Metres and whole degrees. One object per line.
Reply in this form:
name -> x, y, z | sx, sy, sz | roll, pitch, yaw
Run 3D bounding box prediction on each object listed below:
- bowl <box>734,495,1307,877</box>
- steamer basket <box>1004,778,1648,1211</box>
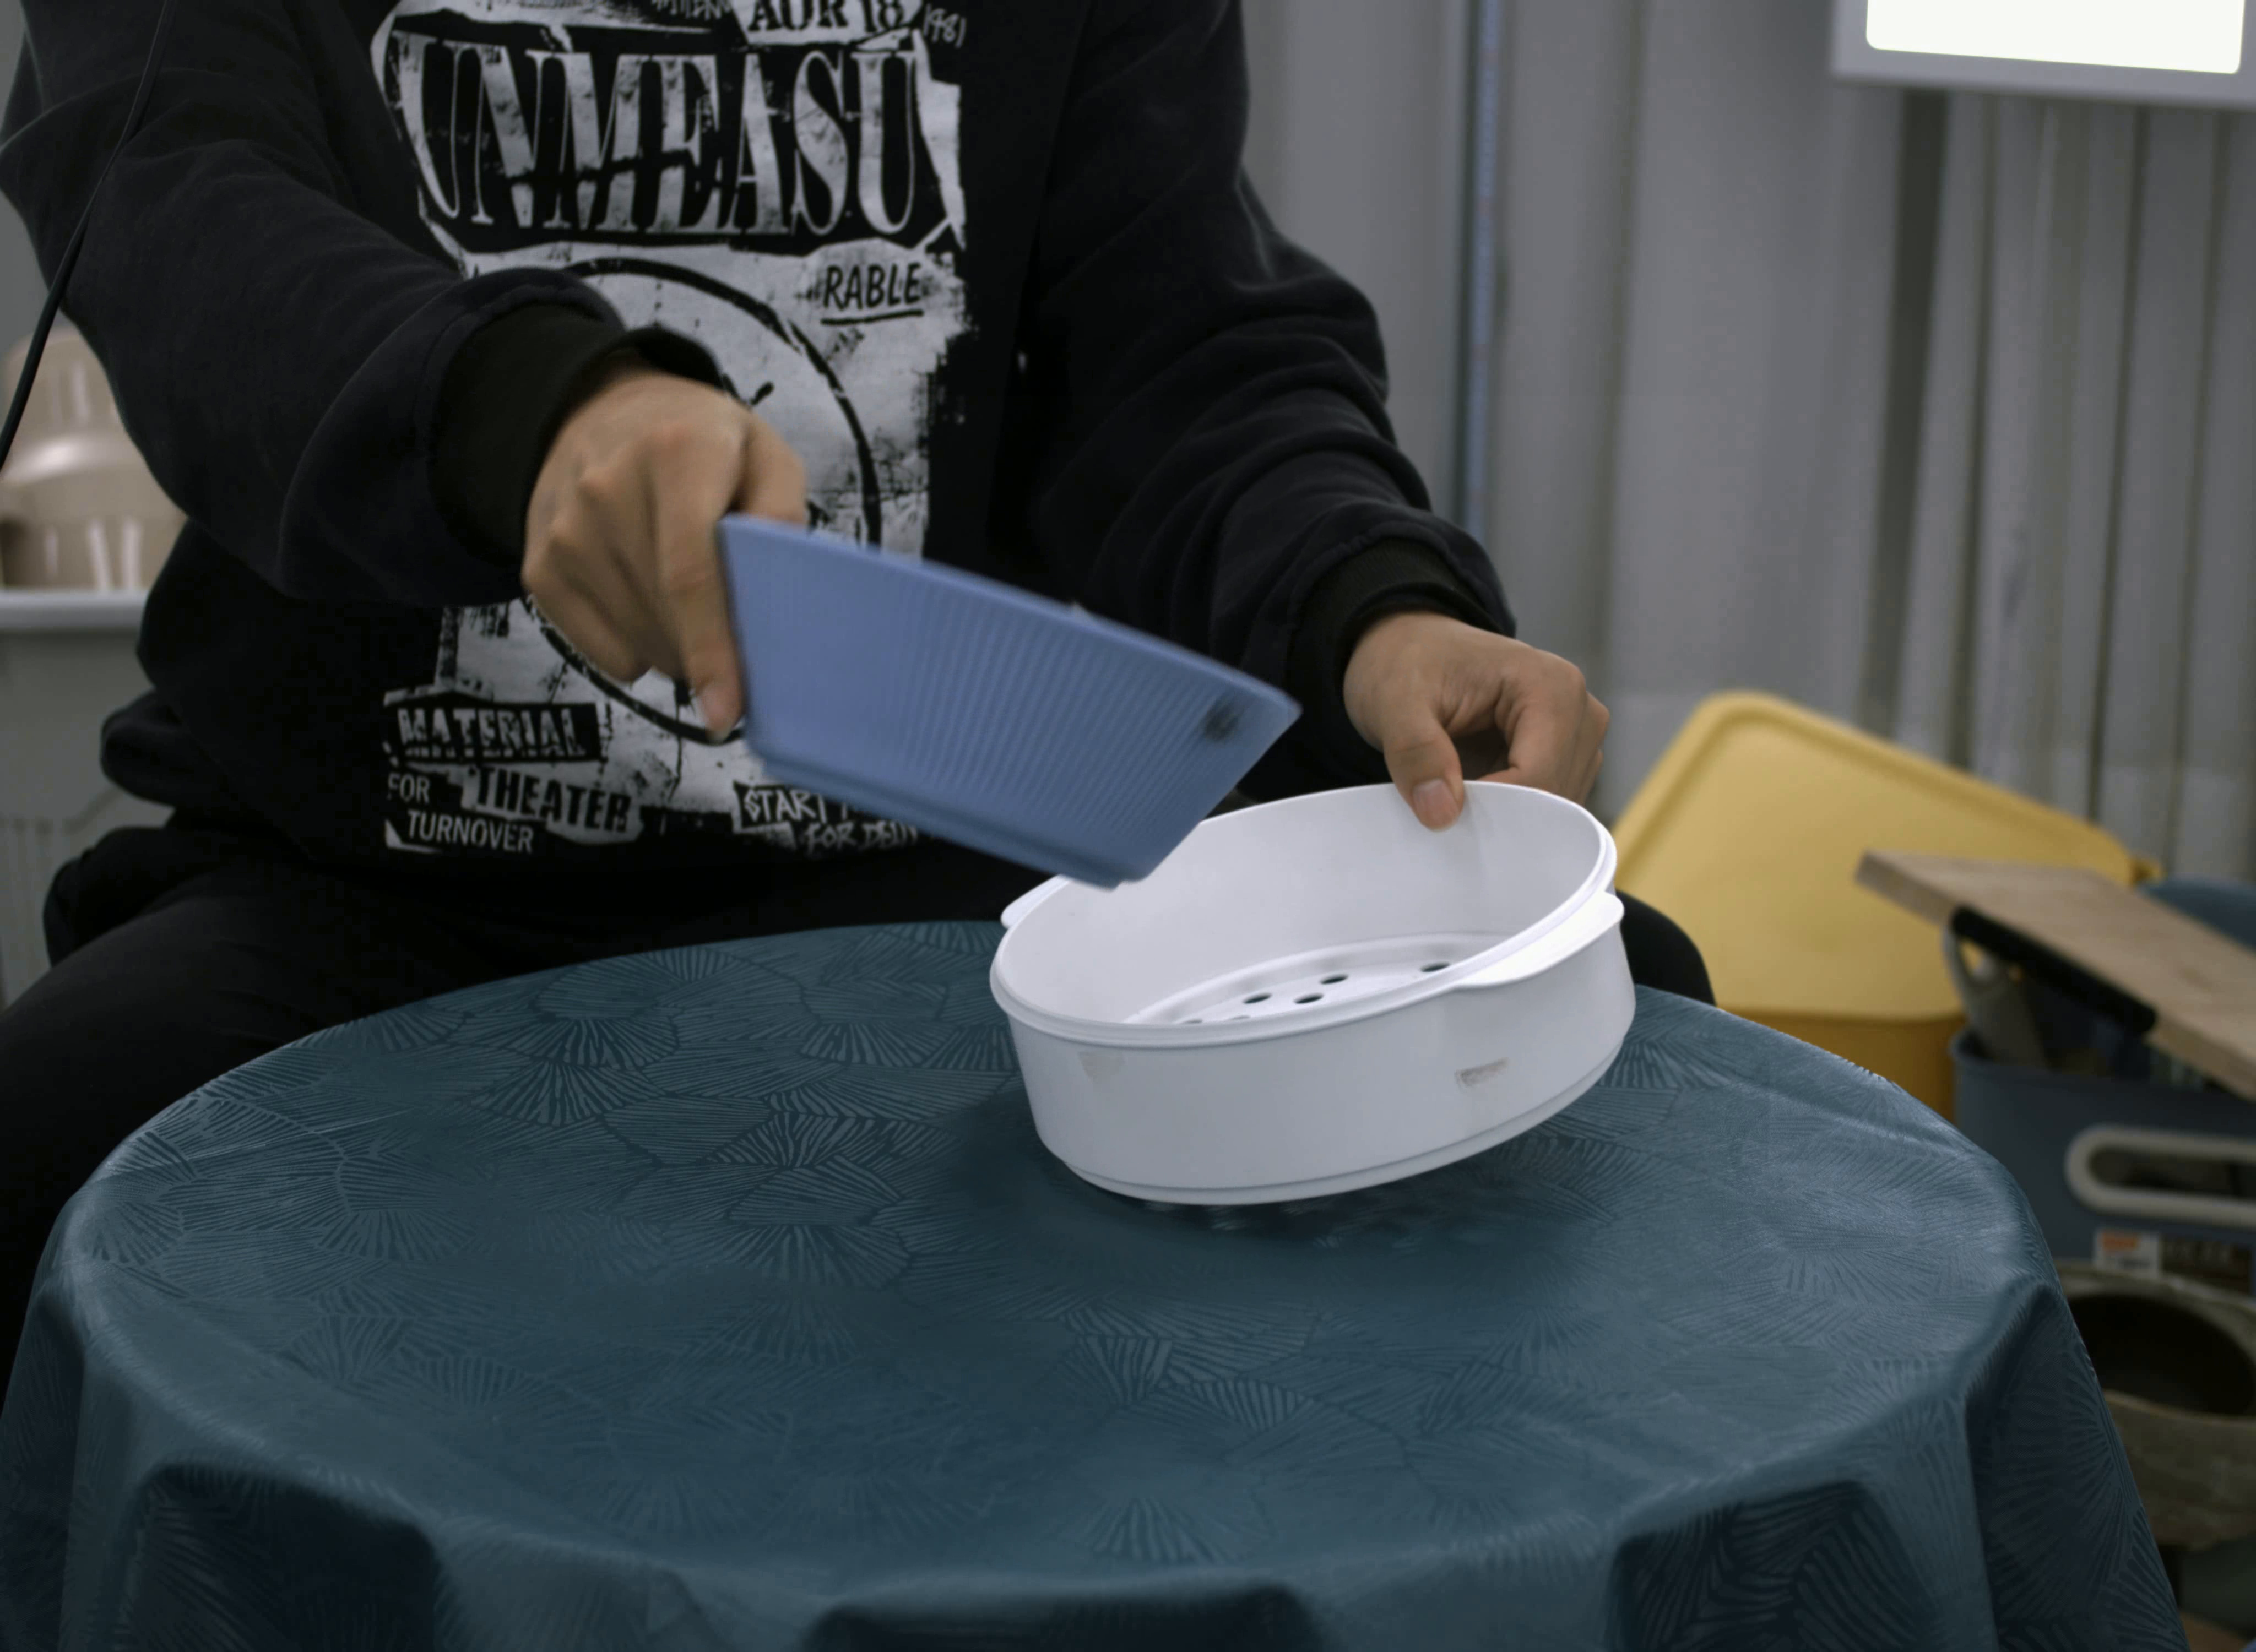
bowl -> -0.041, -0.035, 1.515 | 0.175, 0.070, 0.176 | 19, -4, 2
steamer basket -> 0.064, 0.052, 1.656 | 0.227, 0.070, 0.202 | 9, 28, 42
